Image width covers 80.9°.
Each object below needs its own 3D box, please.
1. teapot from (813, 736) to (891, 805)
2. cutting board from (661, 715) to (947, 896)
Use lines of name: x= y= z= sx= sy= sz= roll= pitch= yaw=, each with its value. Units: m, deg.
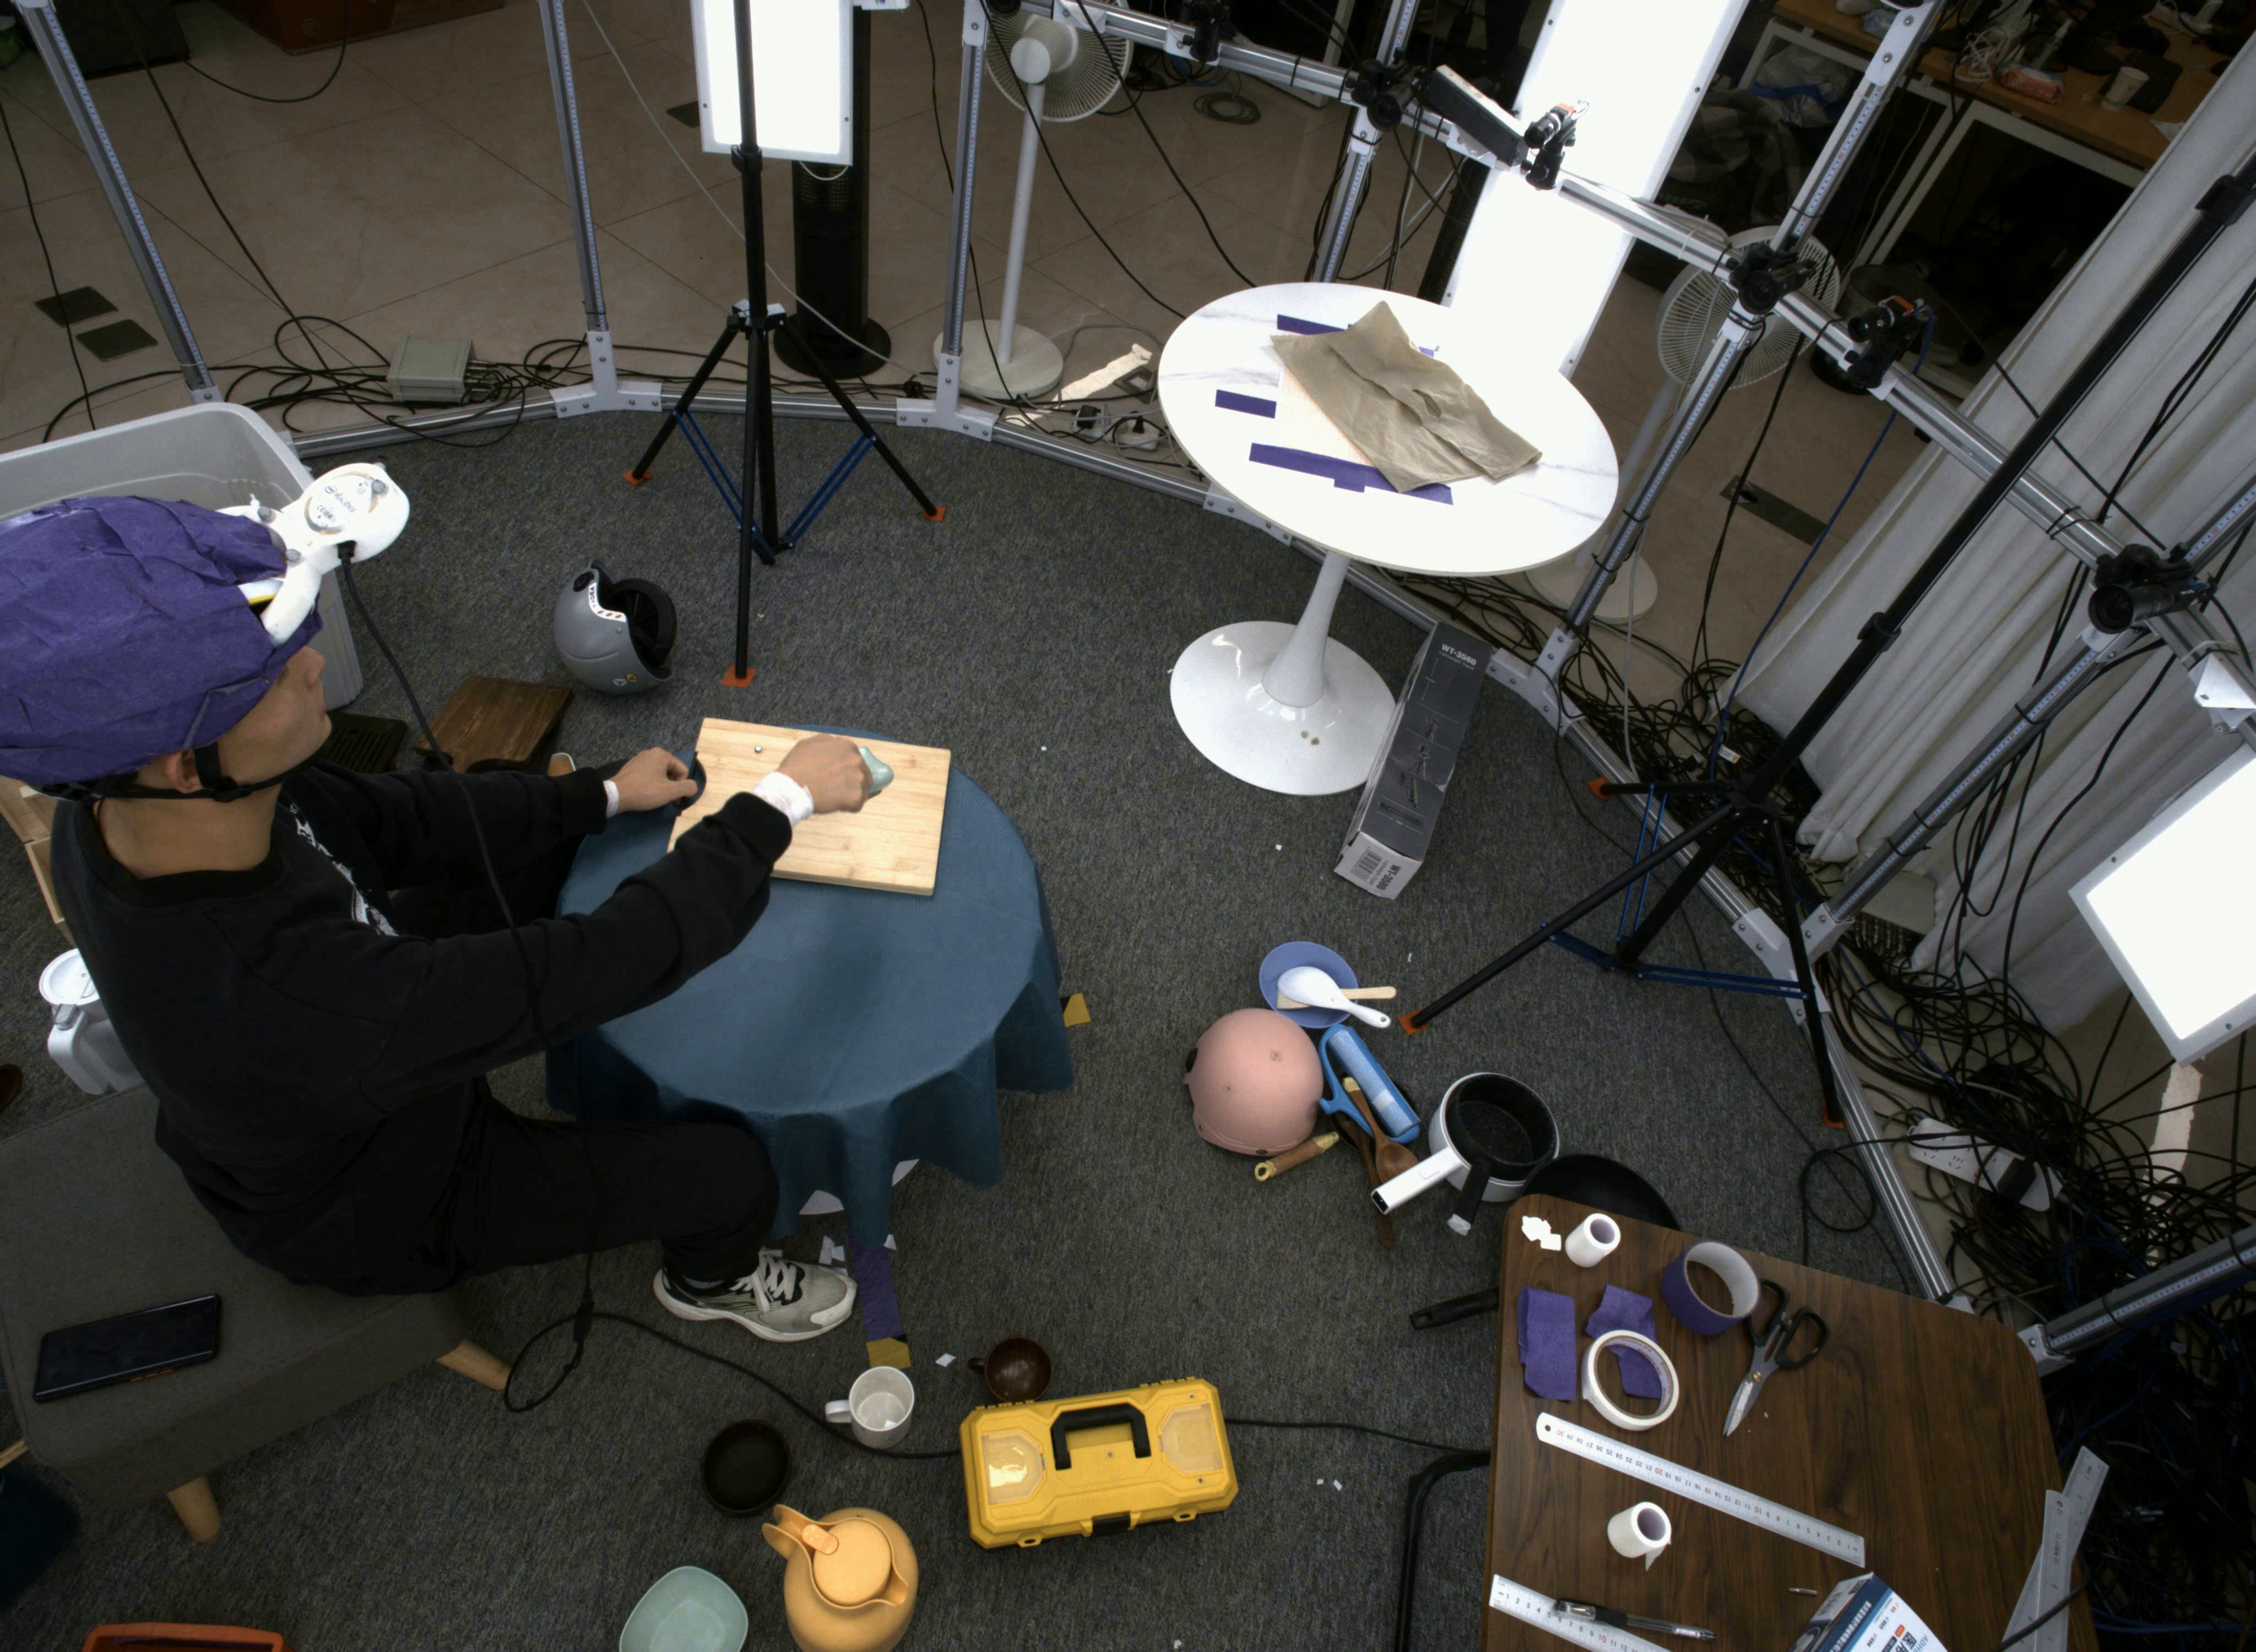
teapot: x=-0.329 y=-0.065 z=1.522 sx=0.096 sy=0.136 sz=0.062 roll=-23 pitch=87 yaw=-14
cutting board: x=-0.423 y=-0.031 z=1.729 sx=0.349 sy=0.024 sz=0.246 roll=7 pitch=52 yaw=-12
